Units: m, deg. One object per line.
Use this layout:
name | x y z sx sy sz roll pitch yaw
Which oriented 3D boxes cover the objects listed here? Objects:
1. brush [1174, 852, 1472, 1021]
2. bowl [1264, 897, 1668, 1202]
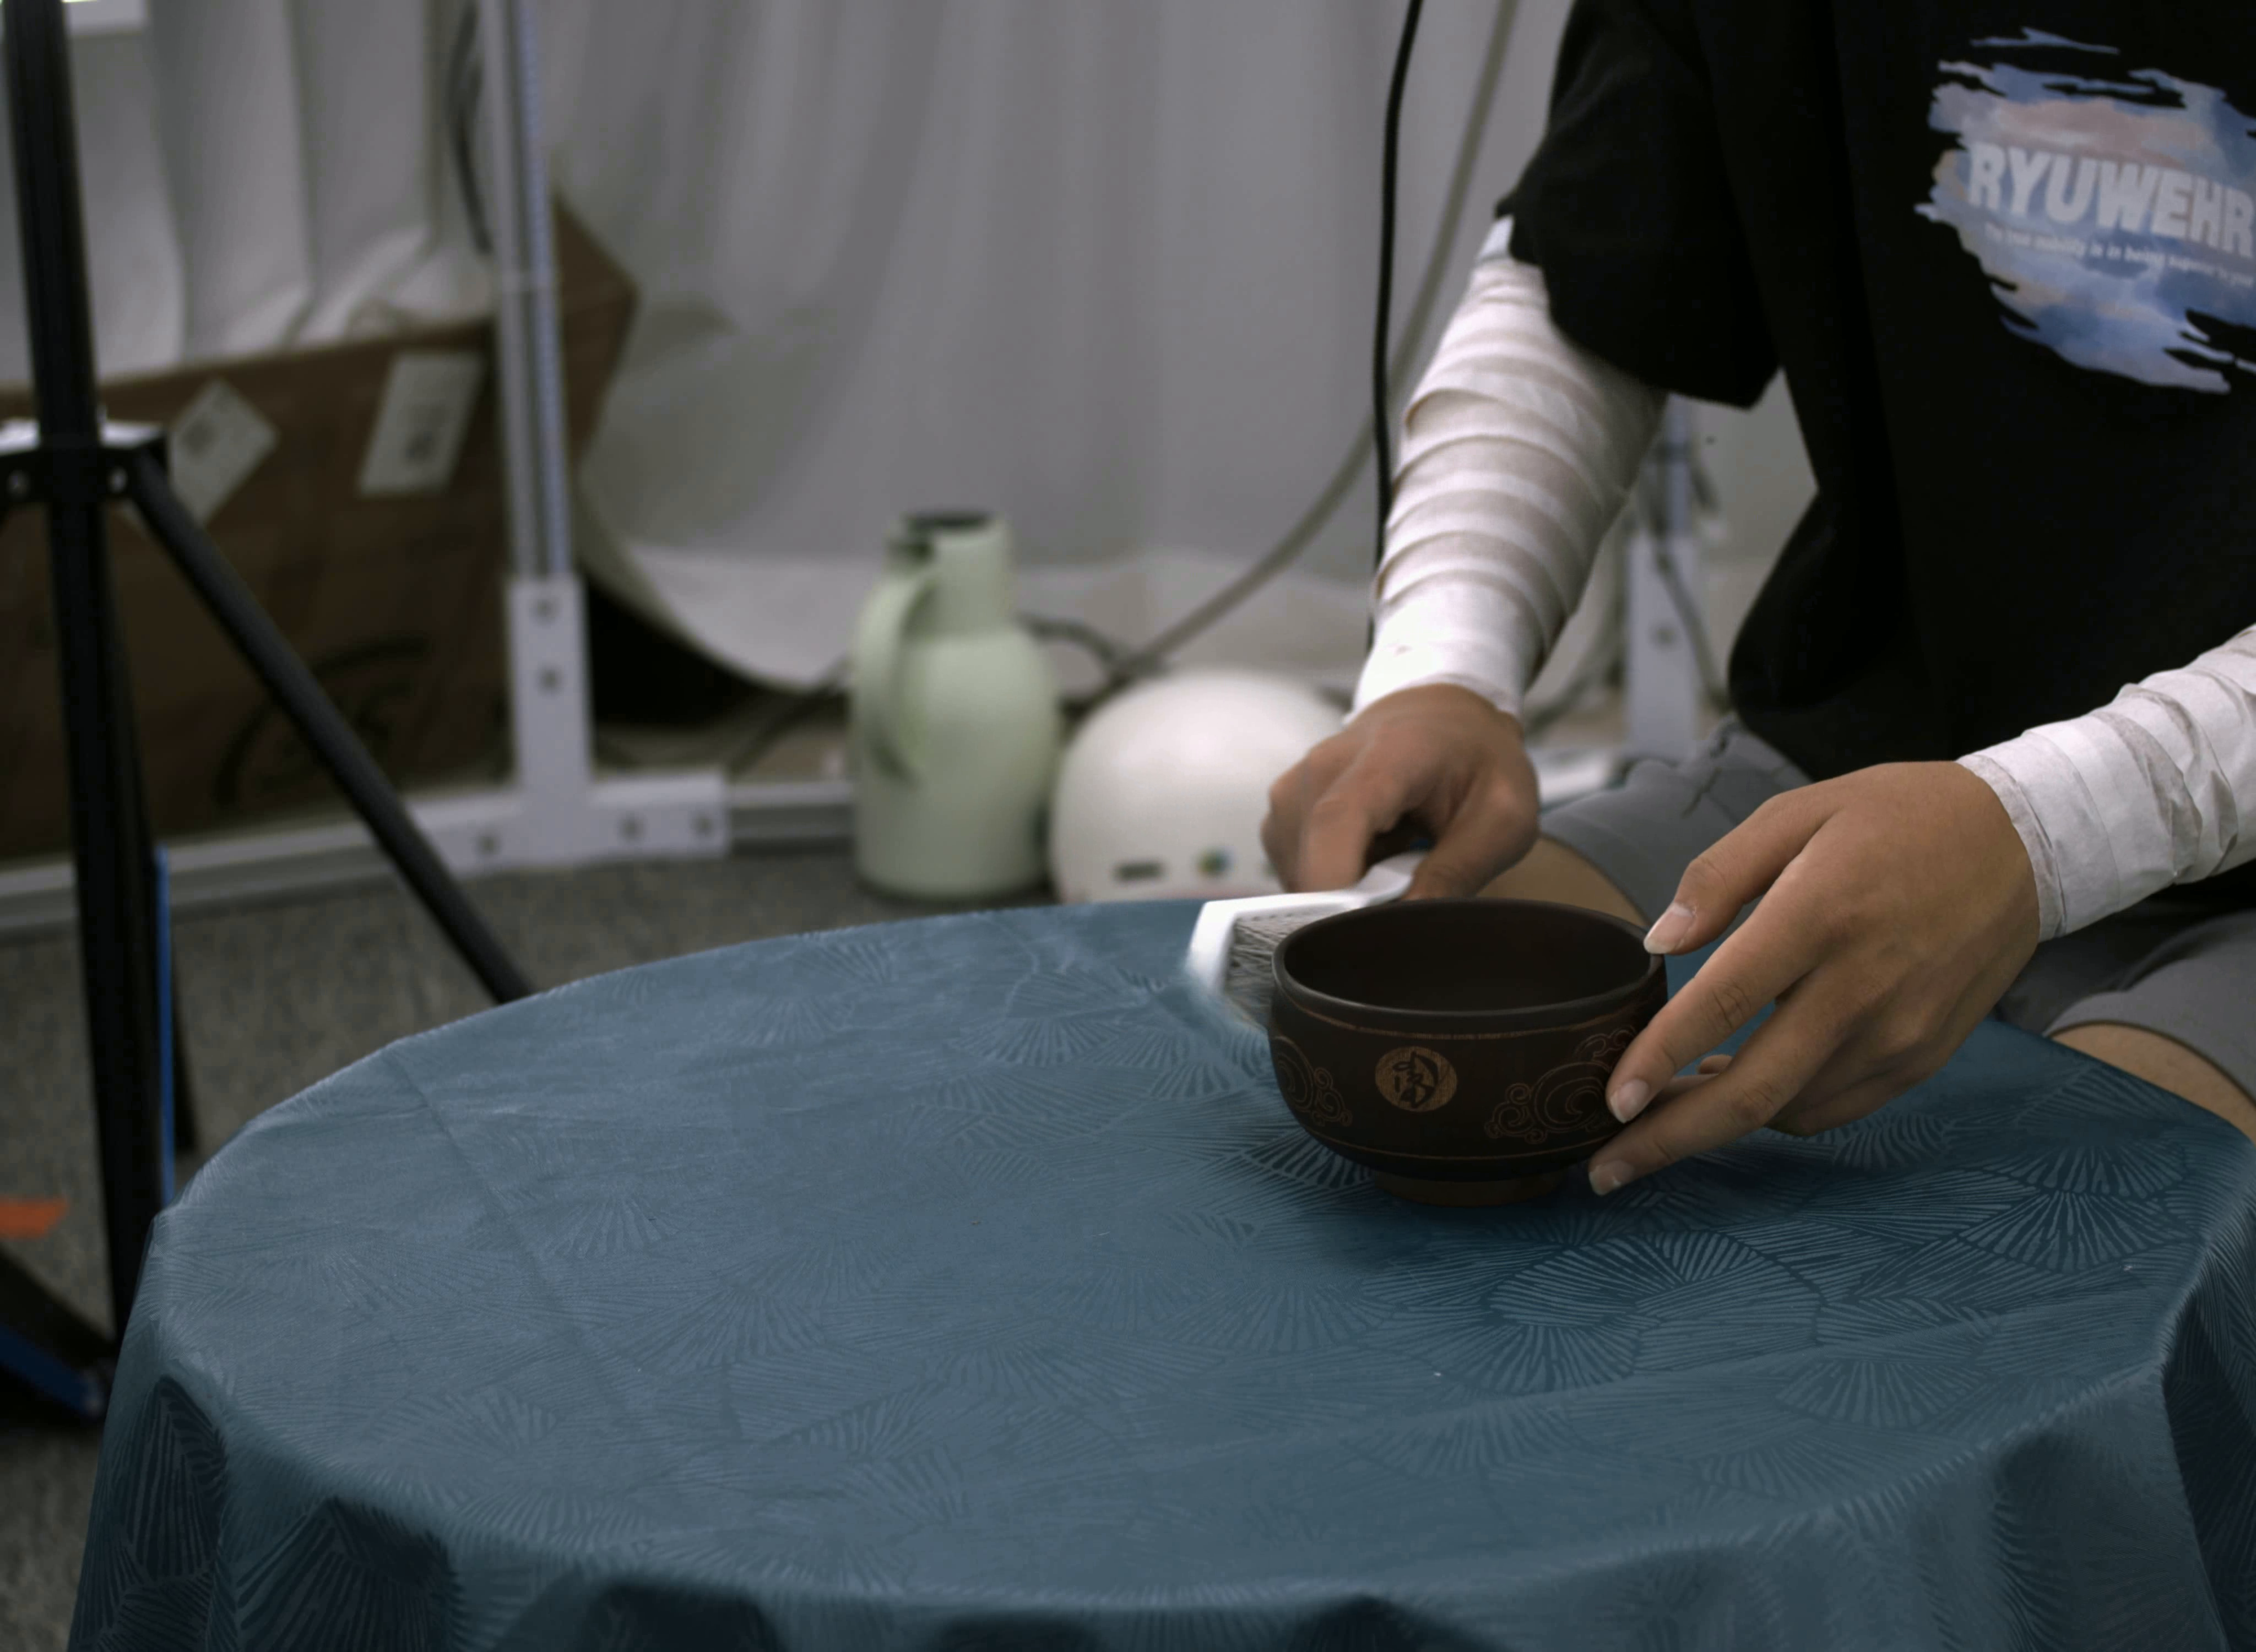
brush | 0.081 0.034 1.684 0.051 0.034 0.239 17 11 23
bowl | 0.099 0.069 1.550 0.117 0.070 0.118 -2 13 -1
